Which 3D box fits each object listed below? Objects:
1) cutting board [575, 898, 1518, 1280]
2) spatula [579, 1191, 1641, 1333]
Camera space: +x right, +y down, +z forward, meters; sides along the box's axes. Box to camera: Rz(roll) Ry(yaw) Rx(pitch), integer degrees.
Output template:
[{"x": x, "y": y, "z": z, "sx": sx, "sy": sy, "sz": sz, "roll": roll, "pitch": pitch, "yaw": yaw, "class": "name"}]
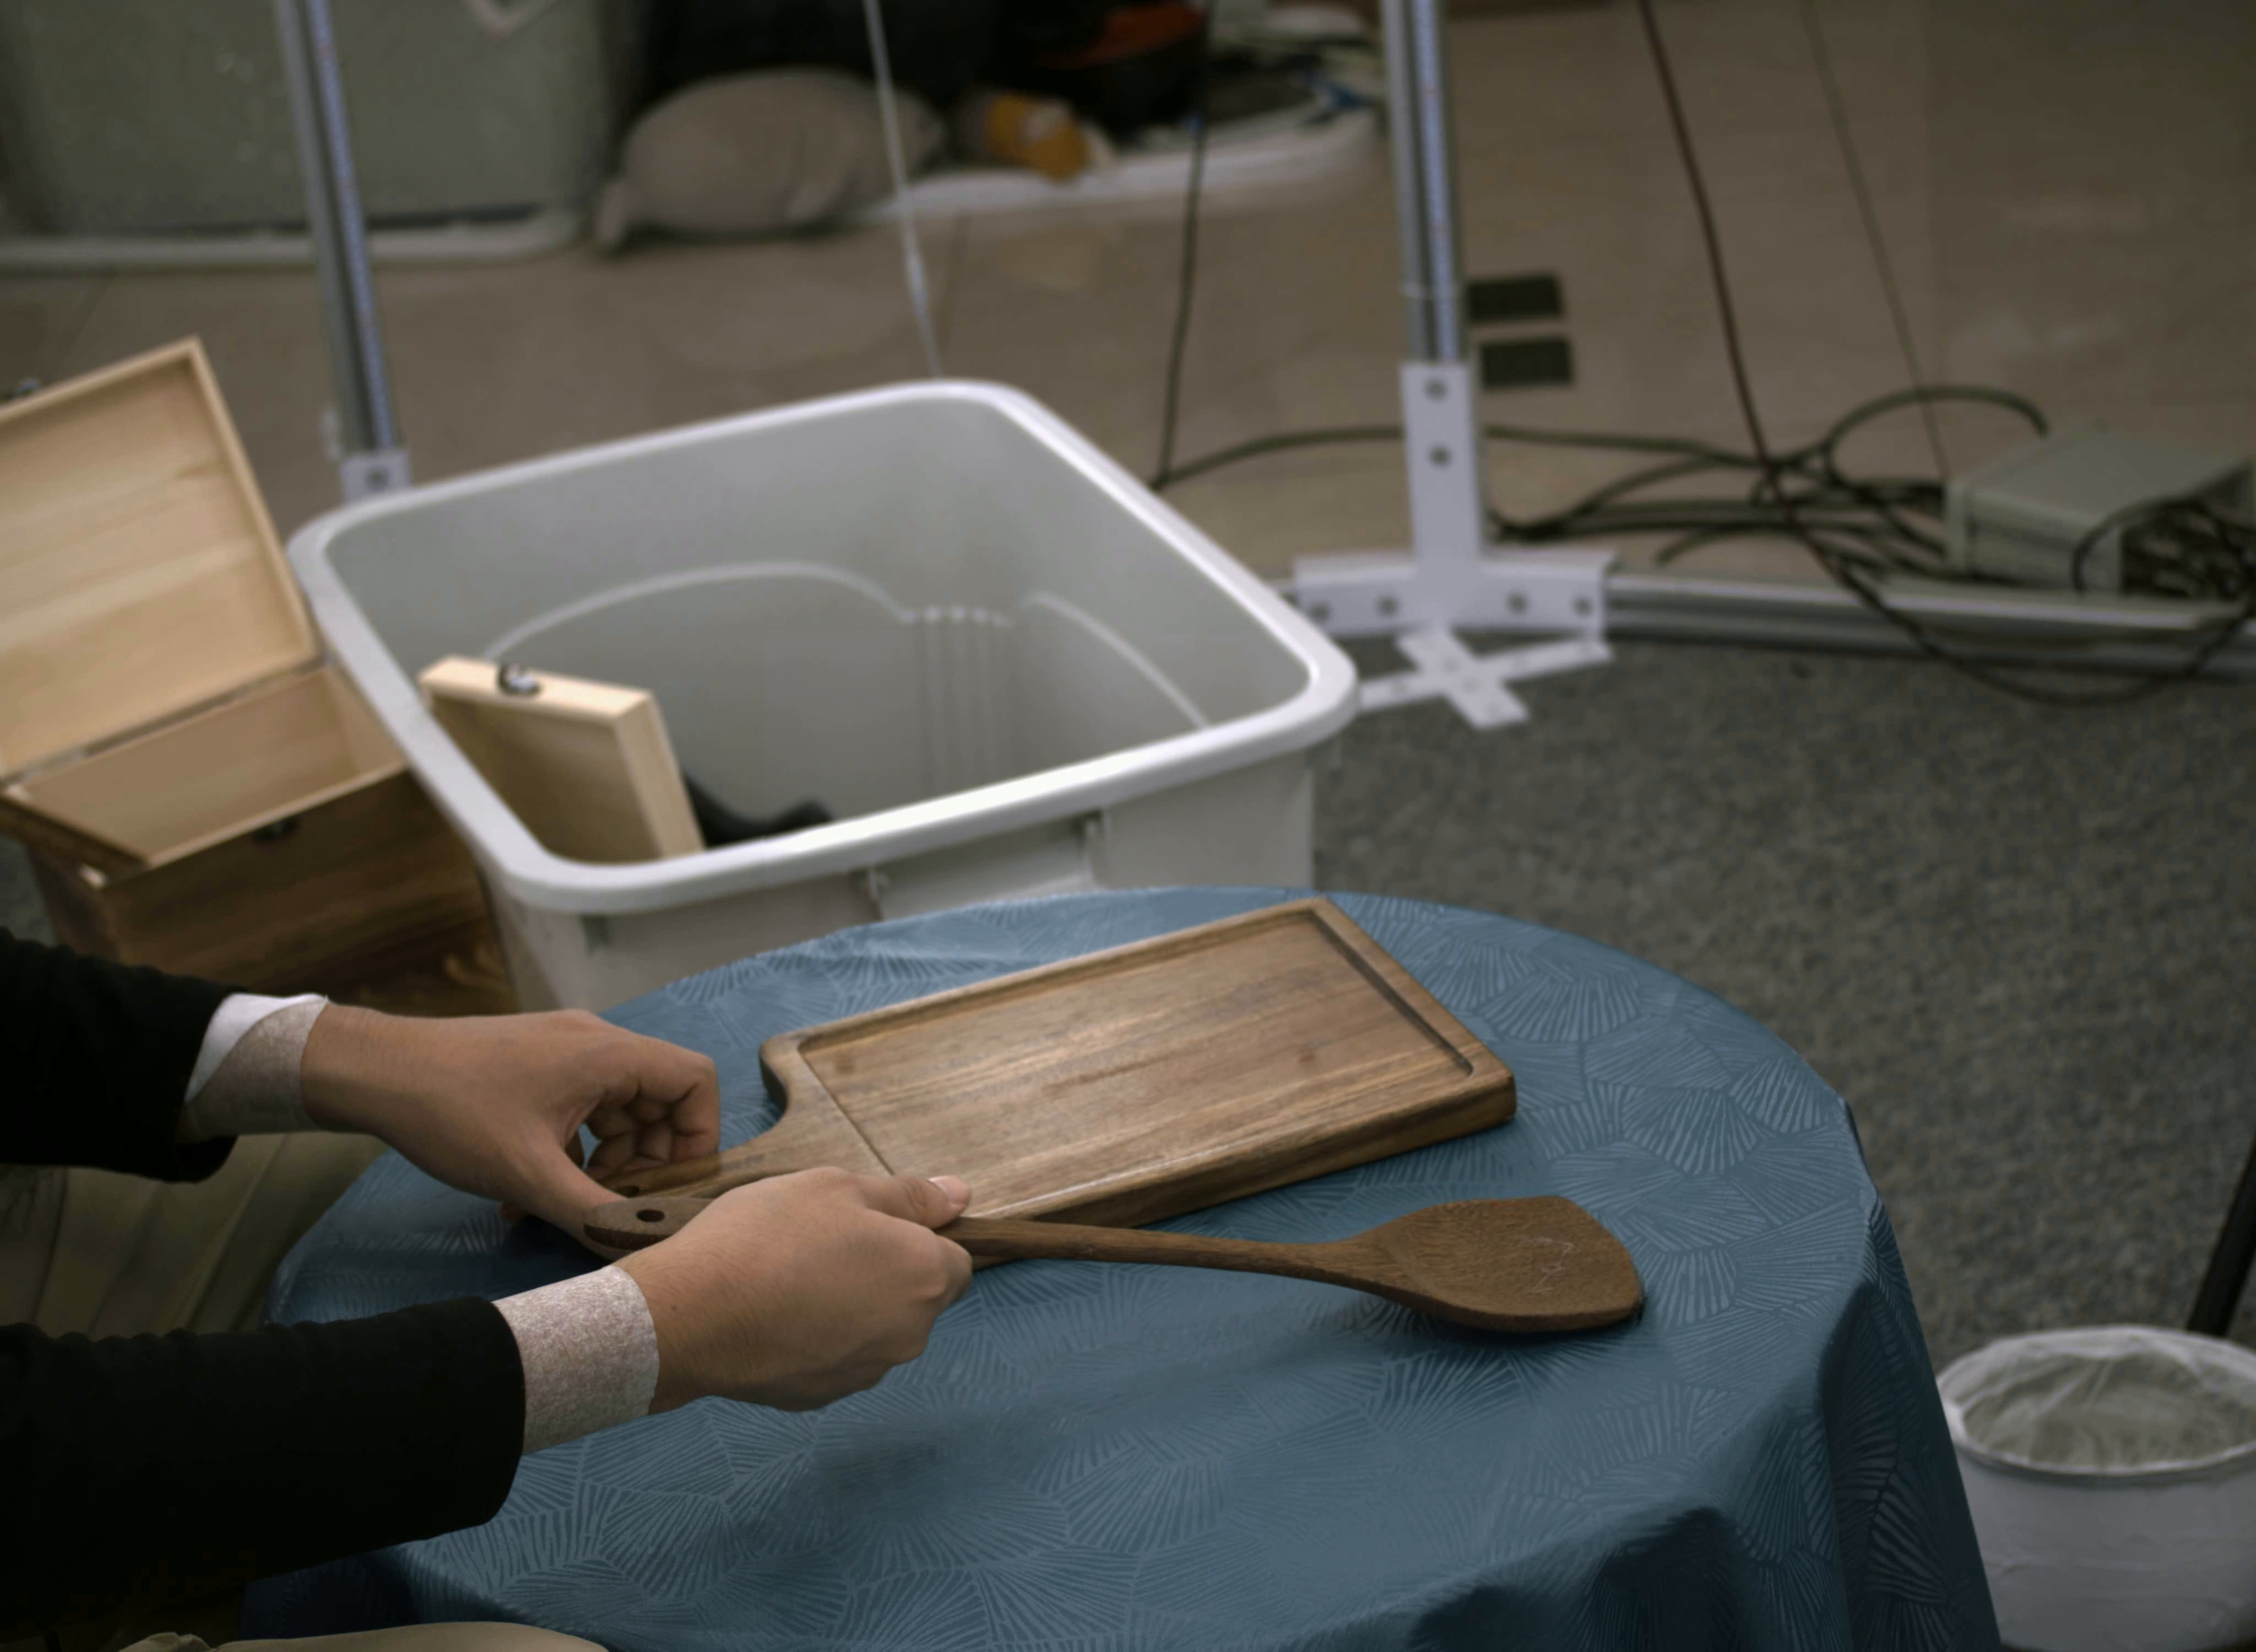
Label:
[{"x": -0.046, "y": 0.110, "z": 2.196, "sx": 0.351, "sy": 0.023, "sz": 0.198, "roll": -15, "pitch": 26, "yaw": -17, "class": "cutting board"}, {"x": -0.004, "y": 0.148, "z": 2.004, "sx": 0.386, "sy": 0.016, "sz": 0.095, "roll": 4, "pitch": 22, "yaw": -17, "class": "spatula"}]
